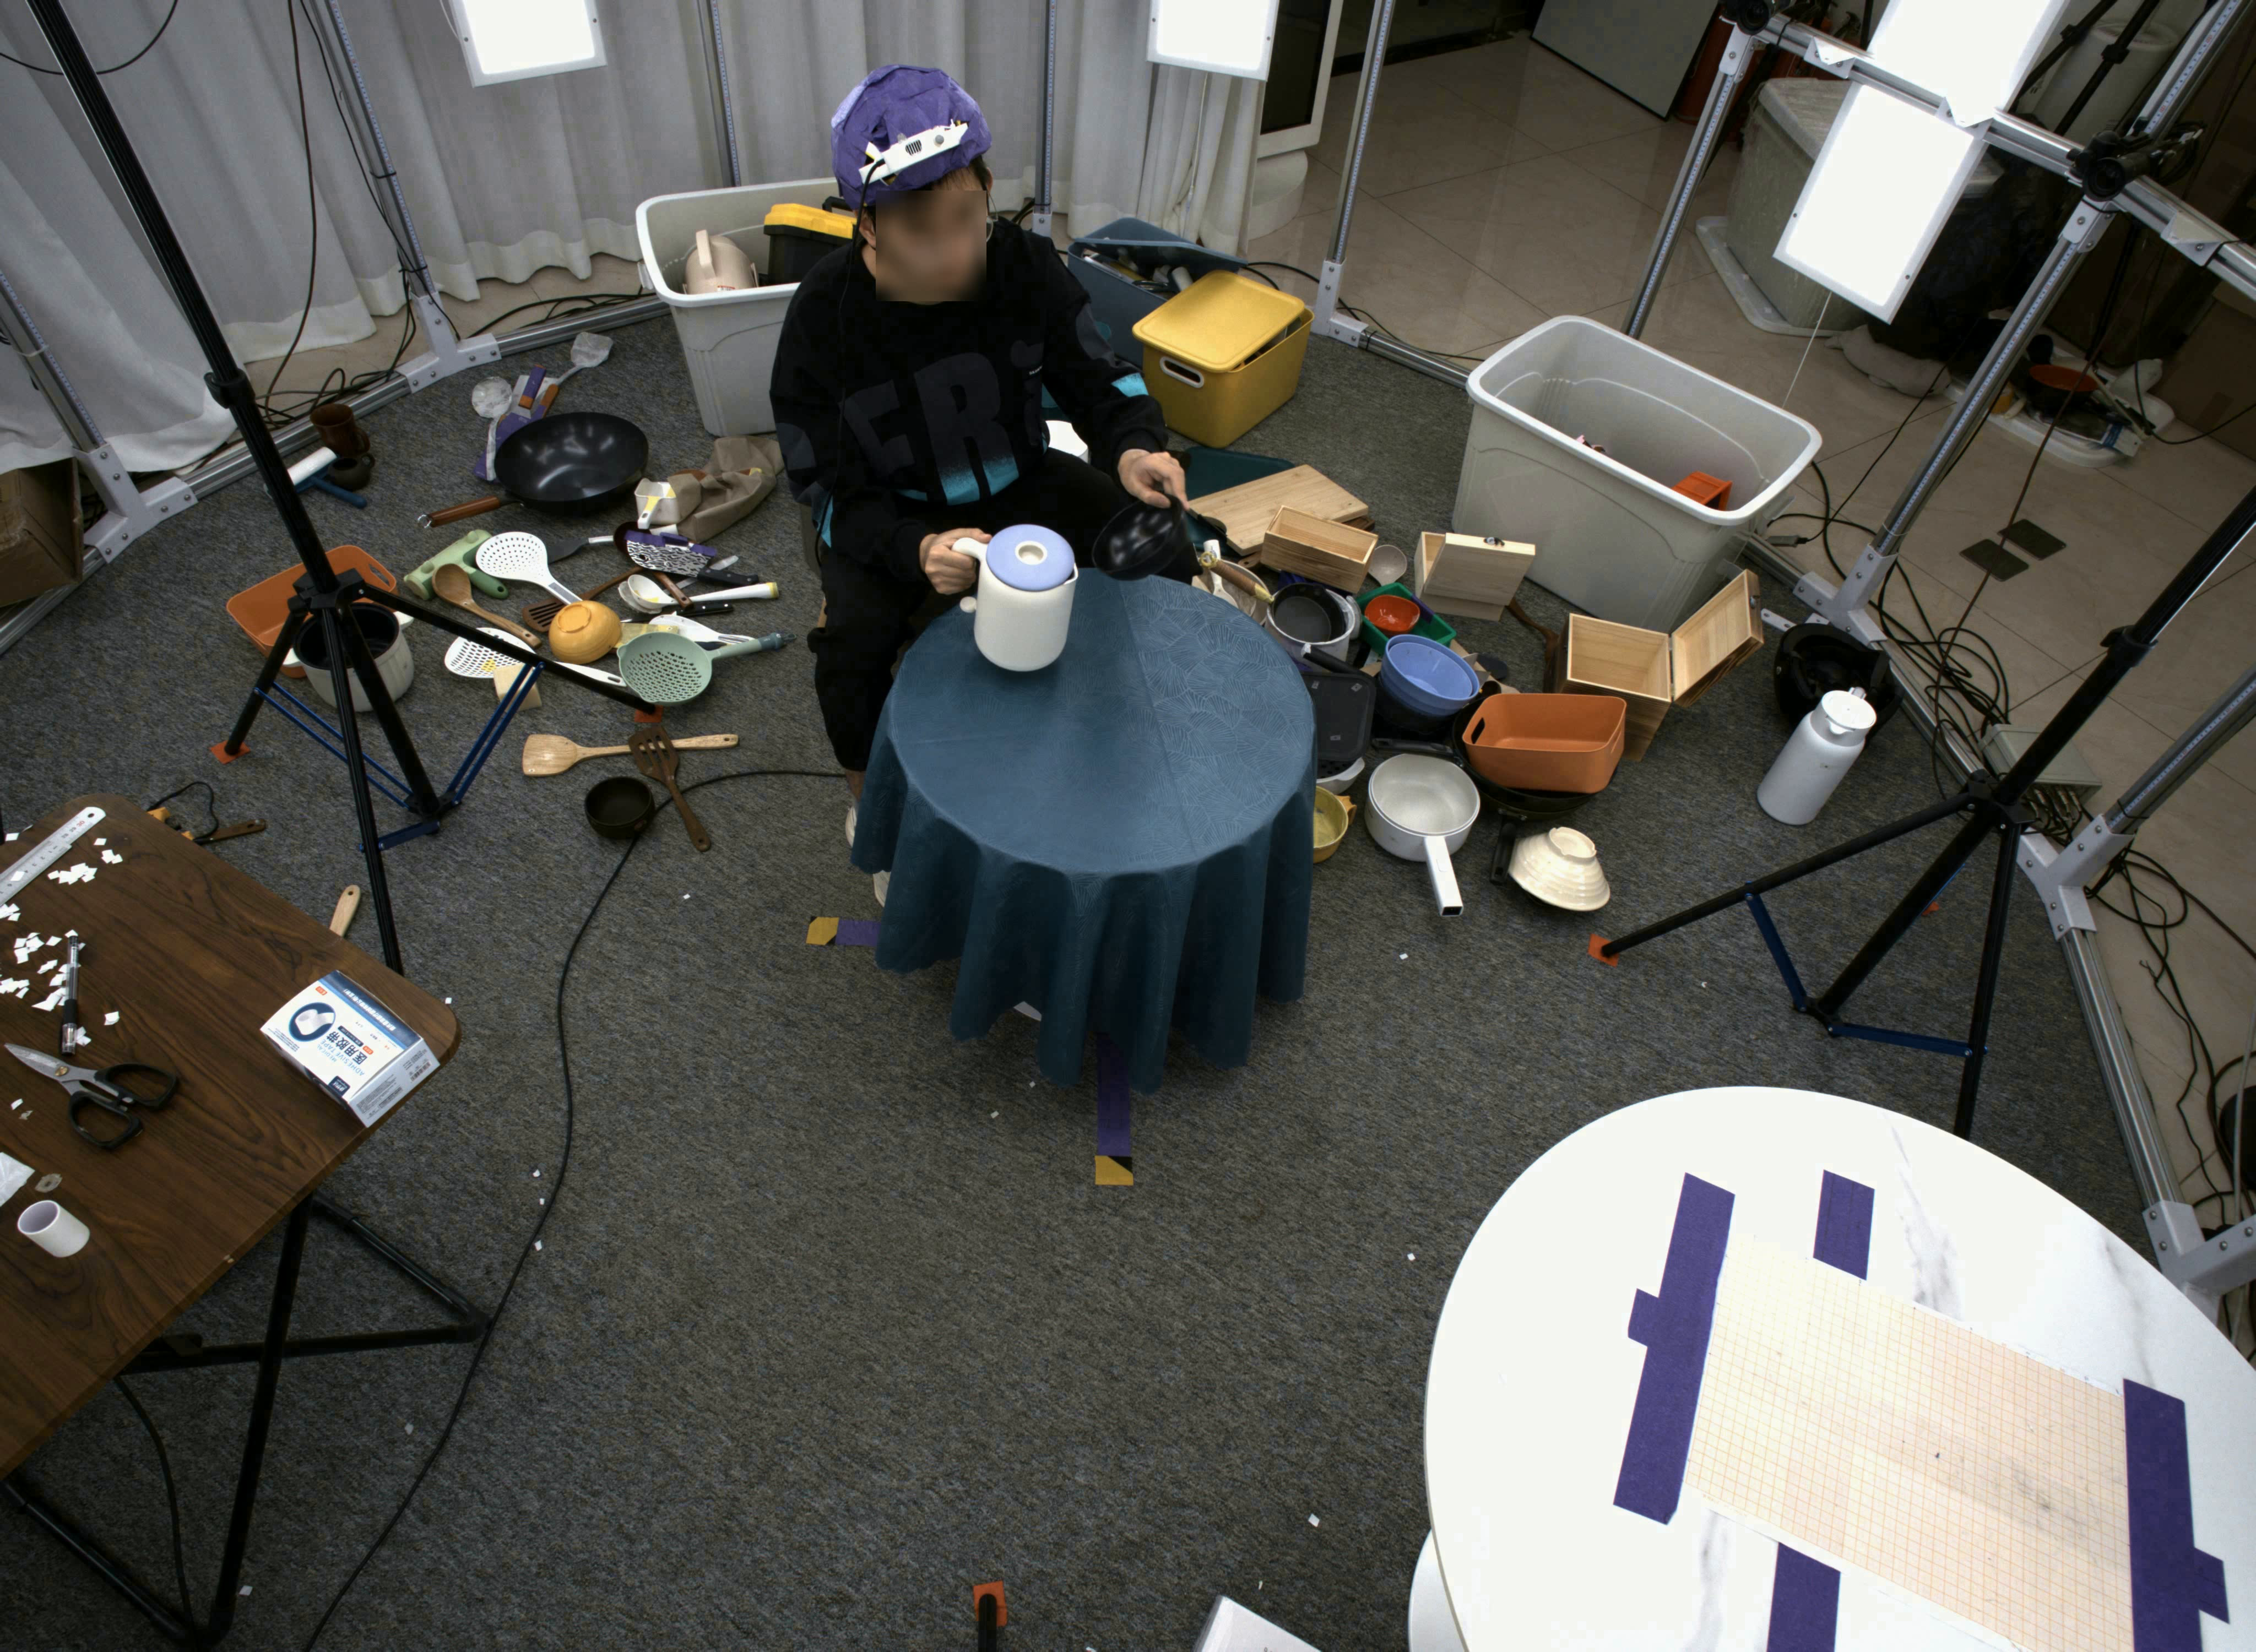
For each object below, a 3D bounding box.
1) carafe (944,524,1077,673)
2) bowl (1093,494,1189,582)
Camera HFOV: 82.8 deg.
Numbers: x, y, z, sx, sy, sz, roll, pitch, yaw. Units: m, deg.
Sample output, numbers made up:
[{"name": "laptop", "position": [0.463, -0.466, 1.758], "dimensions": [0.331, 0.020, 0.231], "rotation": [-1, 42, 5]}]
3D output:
[{"name": "carafe", "position": [-0.164, -0.321, 1.774], "dimensions": [0.192, 0.178, 0.135], "rotation": [21, 54, 8]}, {"name": "bowl", "position": [0.025, -0.367, 1.680], "dimensions": [0.139, 0.049, 0.143], "rotation": [-24, 40, 22]}]
